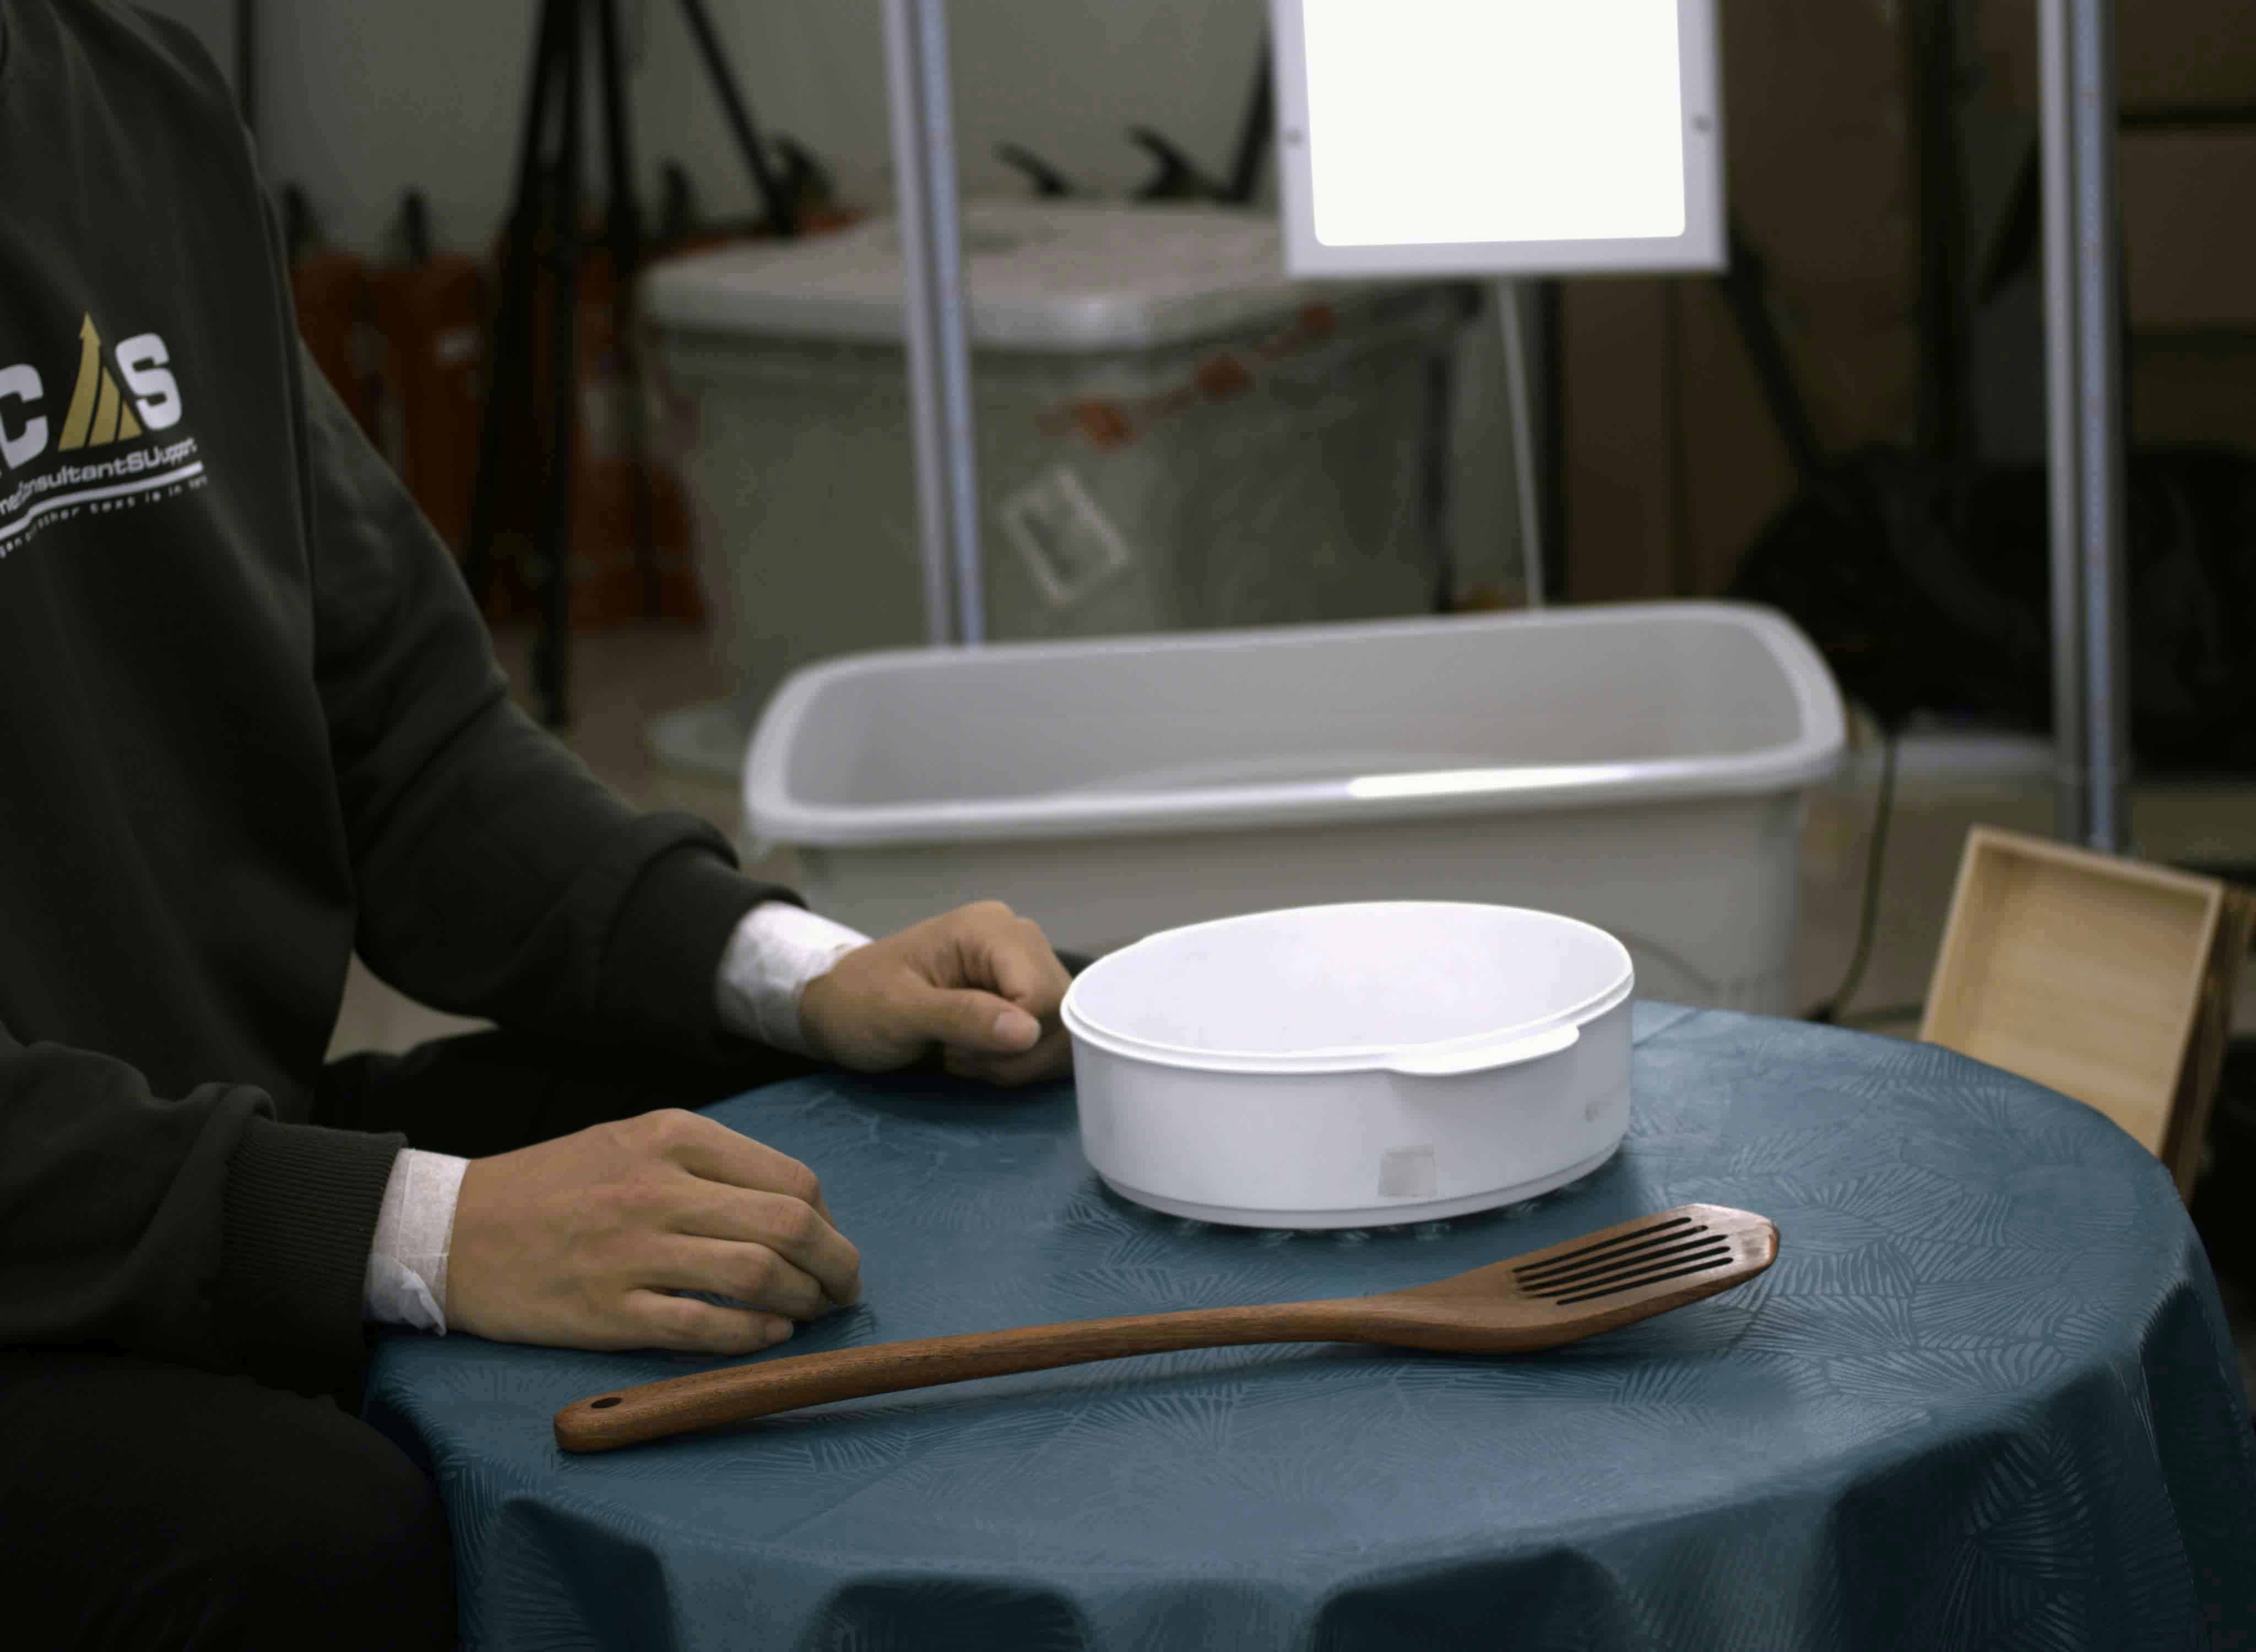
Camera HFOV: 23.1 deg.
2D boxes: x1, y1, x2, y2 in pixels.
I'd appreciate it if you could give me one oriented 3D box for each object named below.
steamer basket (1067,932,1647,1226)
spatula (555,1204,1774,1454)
[{"bbox_3d":[0.081,0.088,1.905,0.198,0.069,0.234,-9,10,-23],"label":"steamer basket"},{"bbox_3d":[0.013,0.161,1.712,0.382,0.024,0.086,-7,11,-5],"label":"spatula"}]
